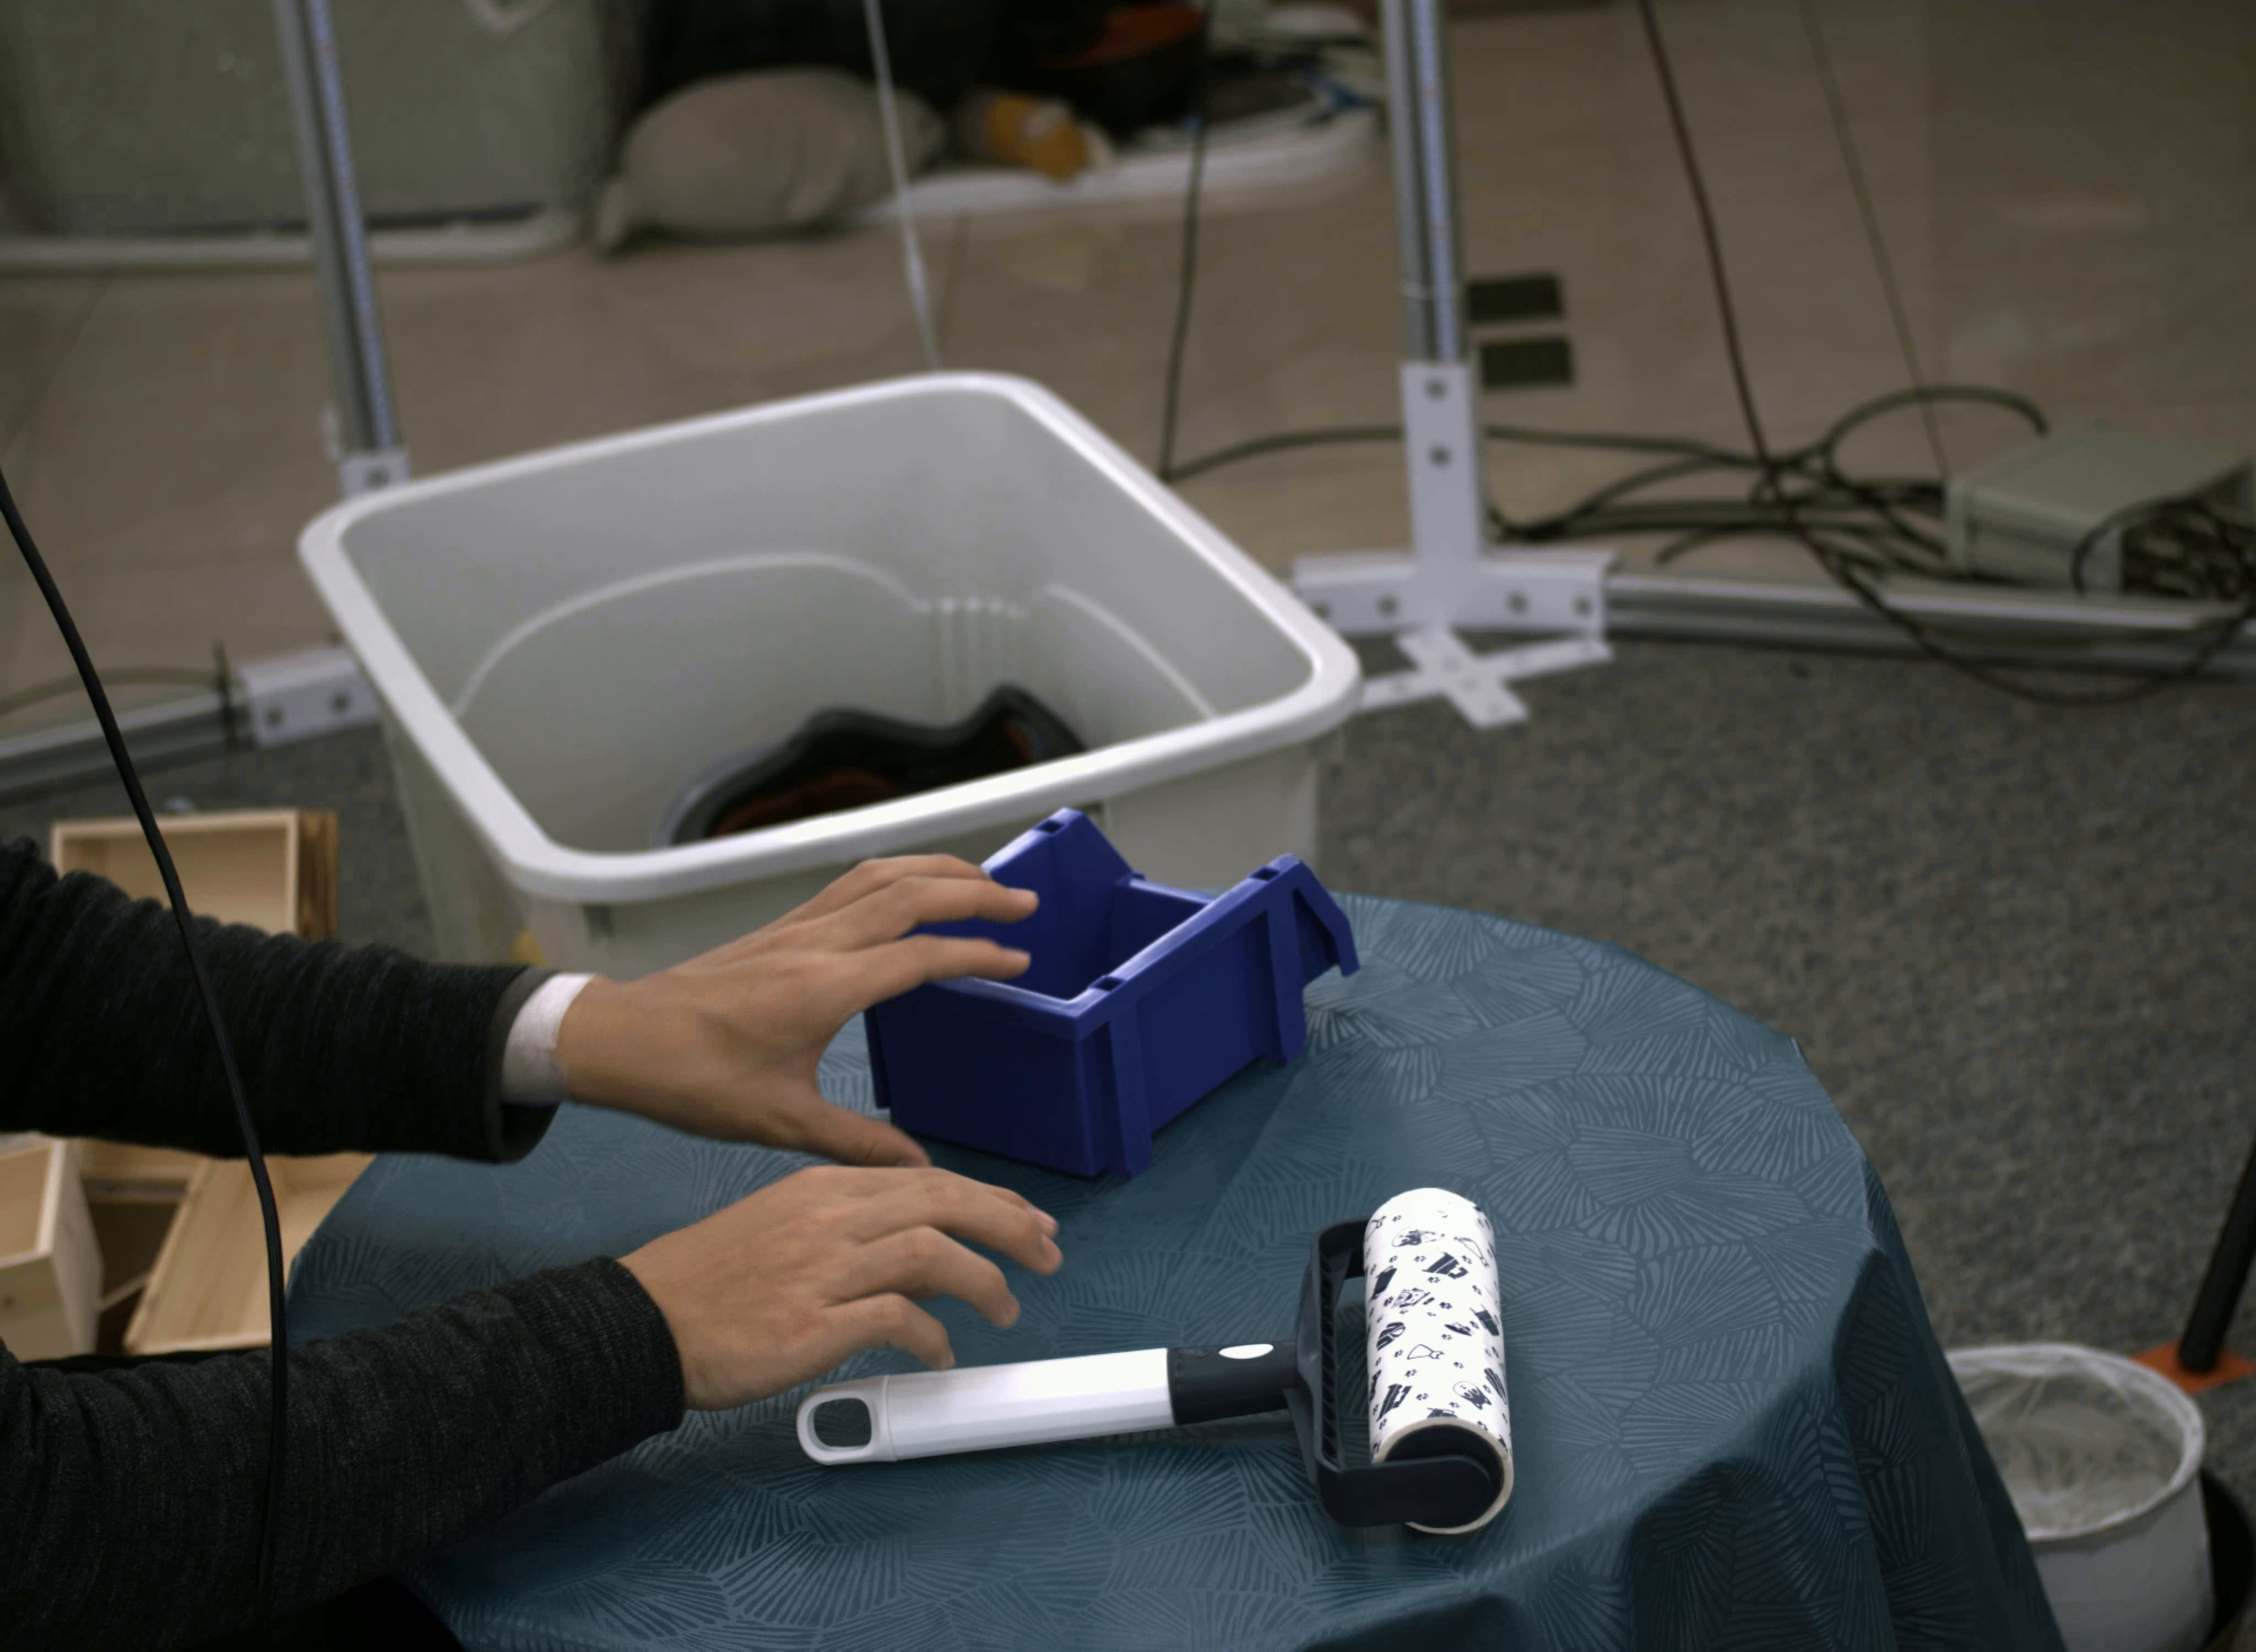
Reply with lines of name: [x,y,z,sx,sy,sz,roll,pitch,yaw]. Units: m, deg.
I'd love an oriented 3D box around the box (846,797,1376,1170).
box: [-0.006,0.057,2.227,0.124,0.083,0.177,13,34,36]

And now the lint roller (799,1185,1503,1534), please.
lint roller: [0.006,0.195,1.975,0.246,0.051,0.173,-6,26,4]
